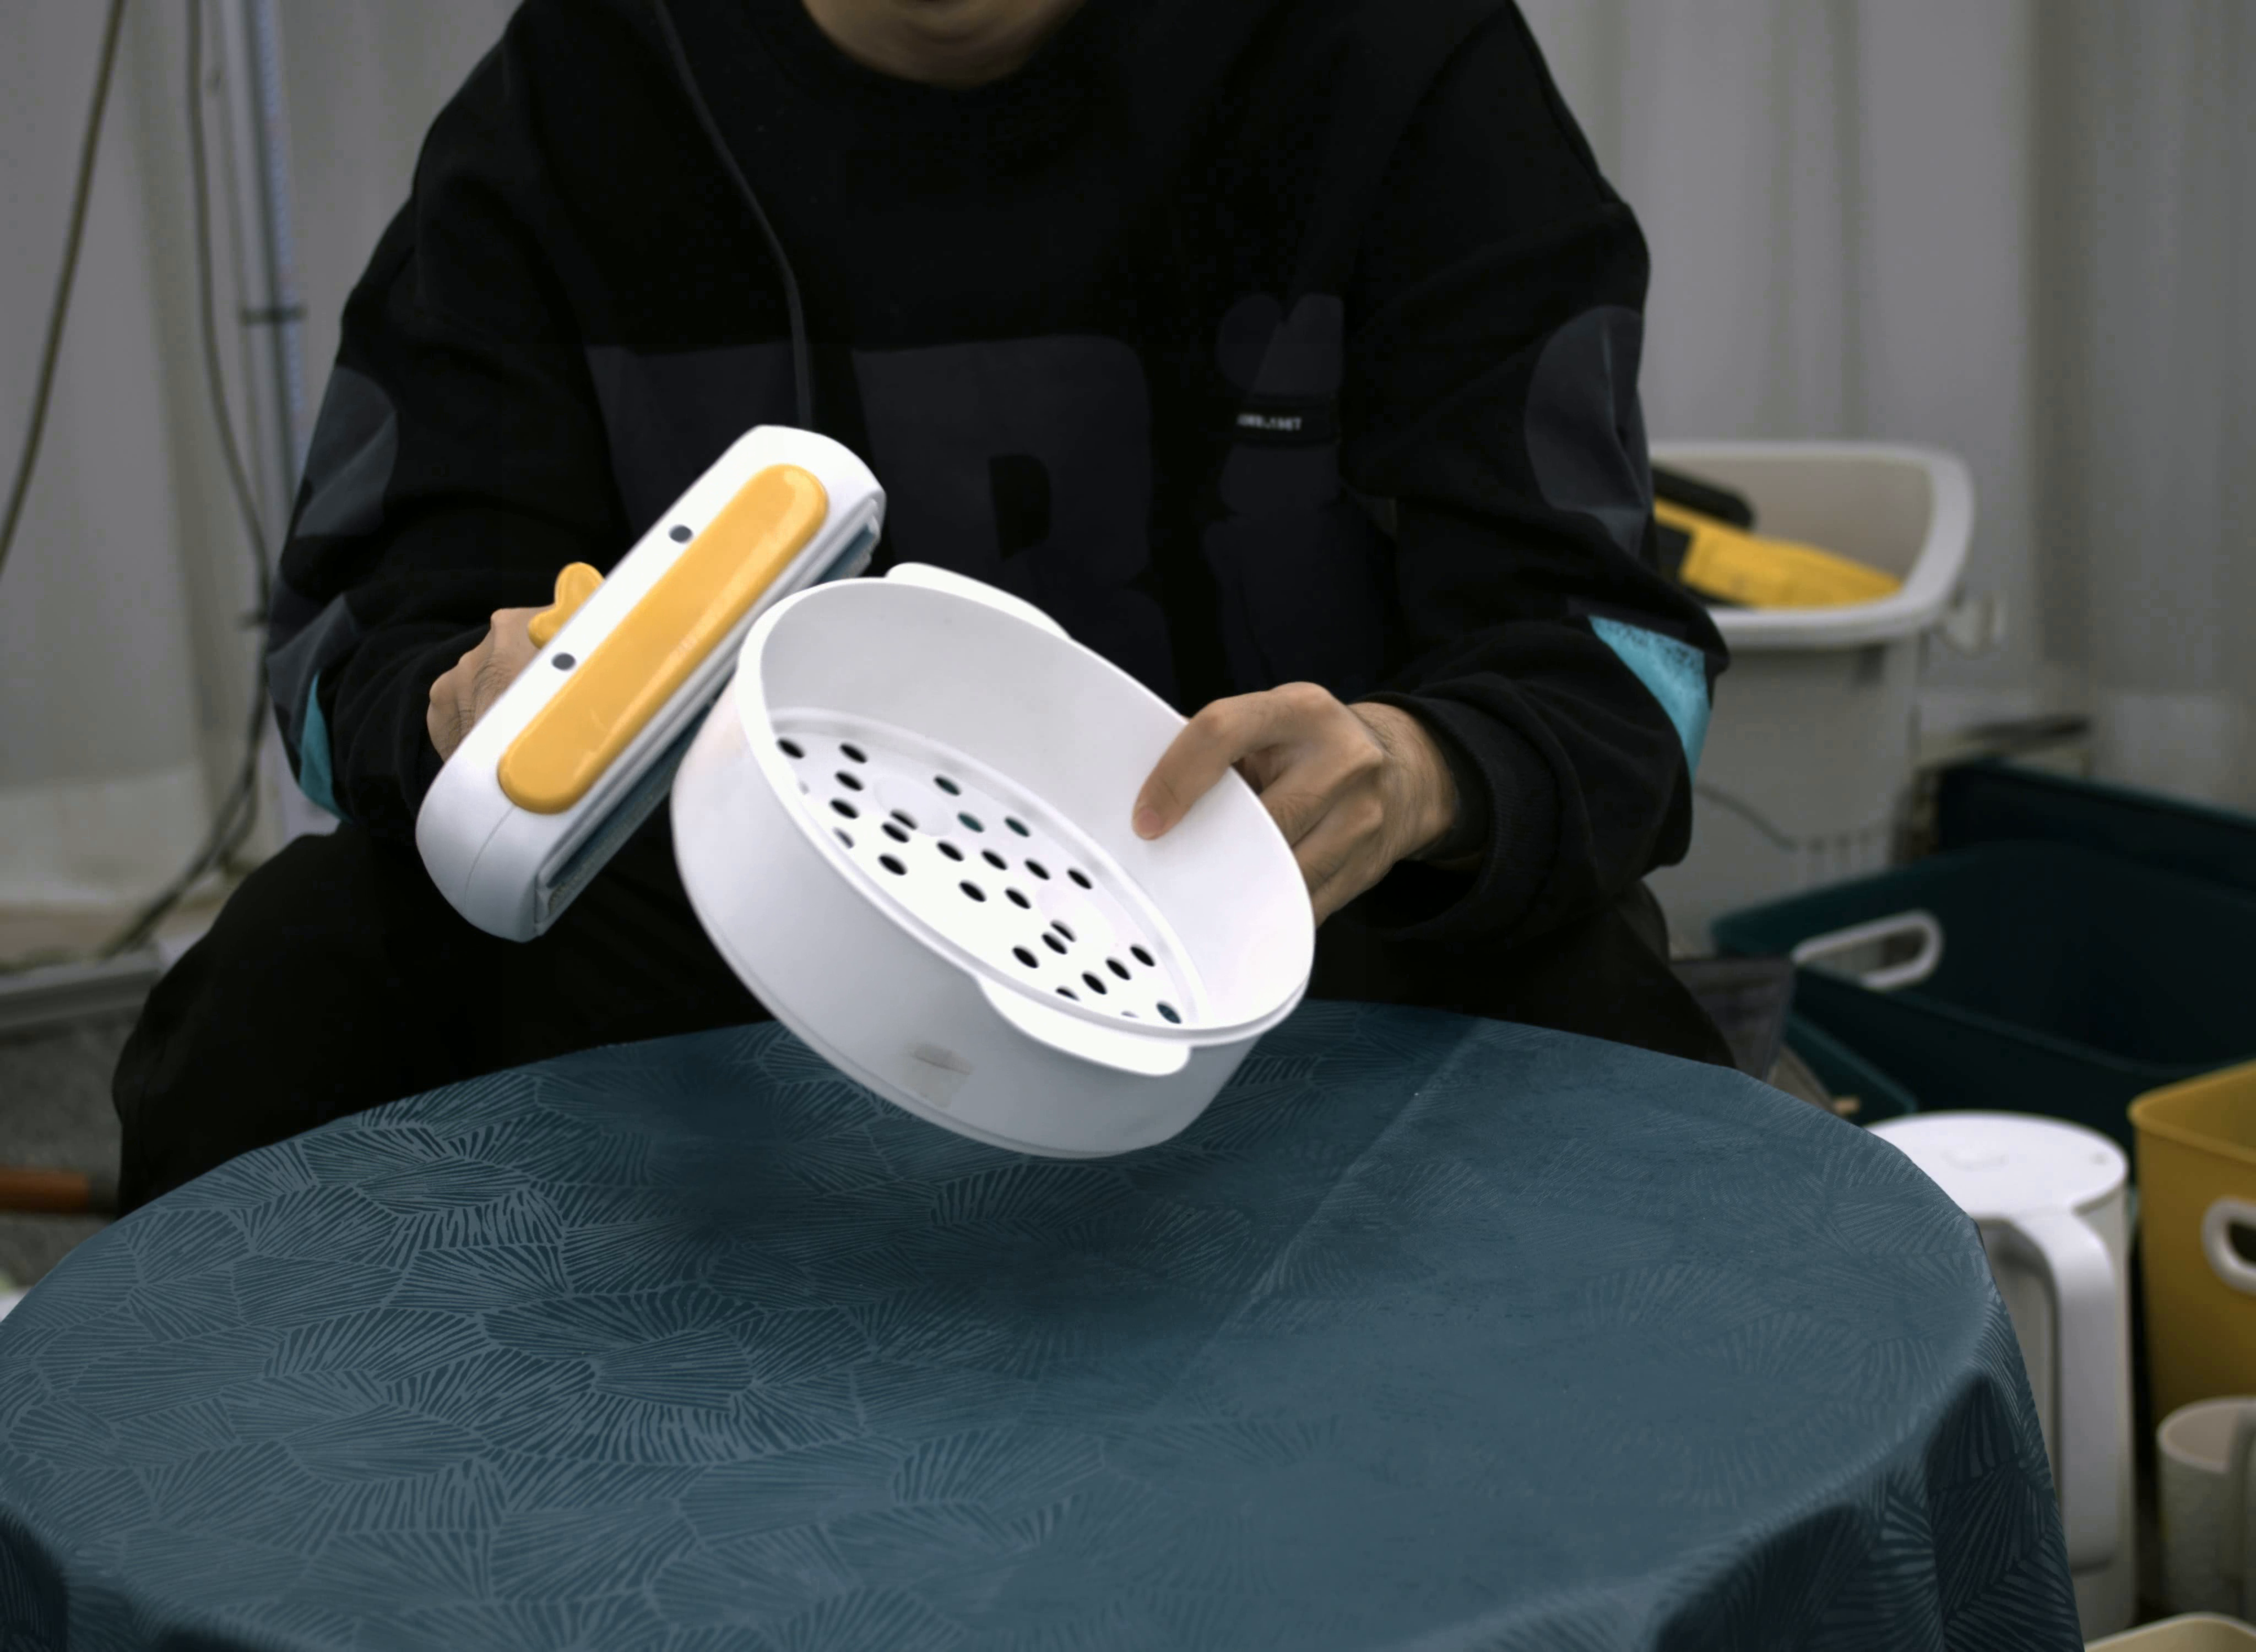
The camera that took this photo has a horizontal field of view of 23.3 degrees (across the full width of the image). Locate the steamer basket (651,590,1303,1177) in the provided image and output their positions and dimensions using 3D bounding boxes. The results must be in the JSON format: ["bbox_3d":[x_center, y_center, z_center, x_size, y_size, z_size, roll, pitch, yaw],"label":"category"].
[{"bbox_3d":[-0.047,0.020,1.661,0.200,0.069,0.234,21,29,-27],"label":"steamer basket"}]

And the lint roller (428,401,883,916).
[{"bbox_3d":[-0.165,-0.034,1.750,0.074,0.191,0.194,34,61,1],"label":"lint roller"}]
